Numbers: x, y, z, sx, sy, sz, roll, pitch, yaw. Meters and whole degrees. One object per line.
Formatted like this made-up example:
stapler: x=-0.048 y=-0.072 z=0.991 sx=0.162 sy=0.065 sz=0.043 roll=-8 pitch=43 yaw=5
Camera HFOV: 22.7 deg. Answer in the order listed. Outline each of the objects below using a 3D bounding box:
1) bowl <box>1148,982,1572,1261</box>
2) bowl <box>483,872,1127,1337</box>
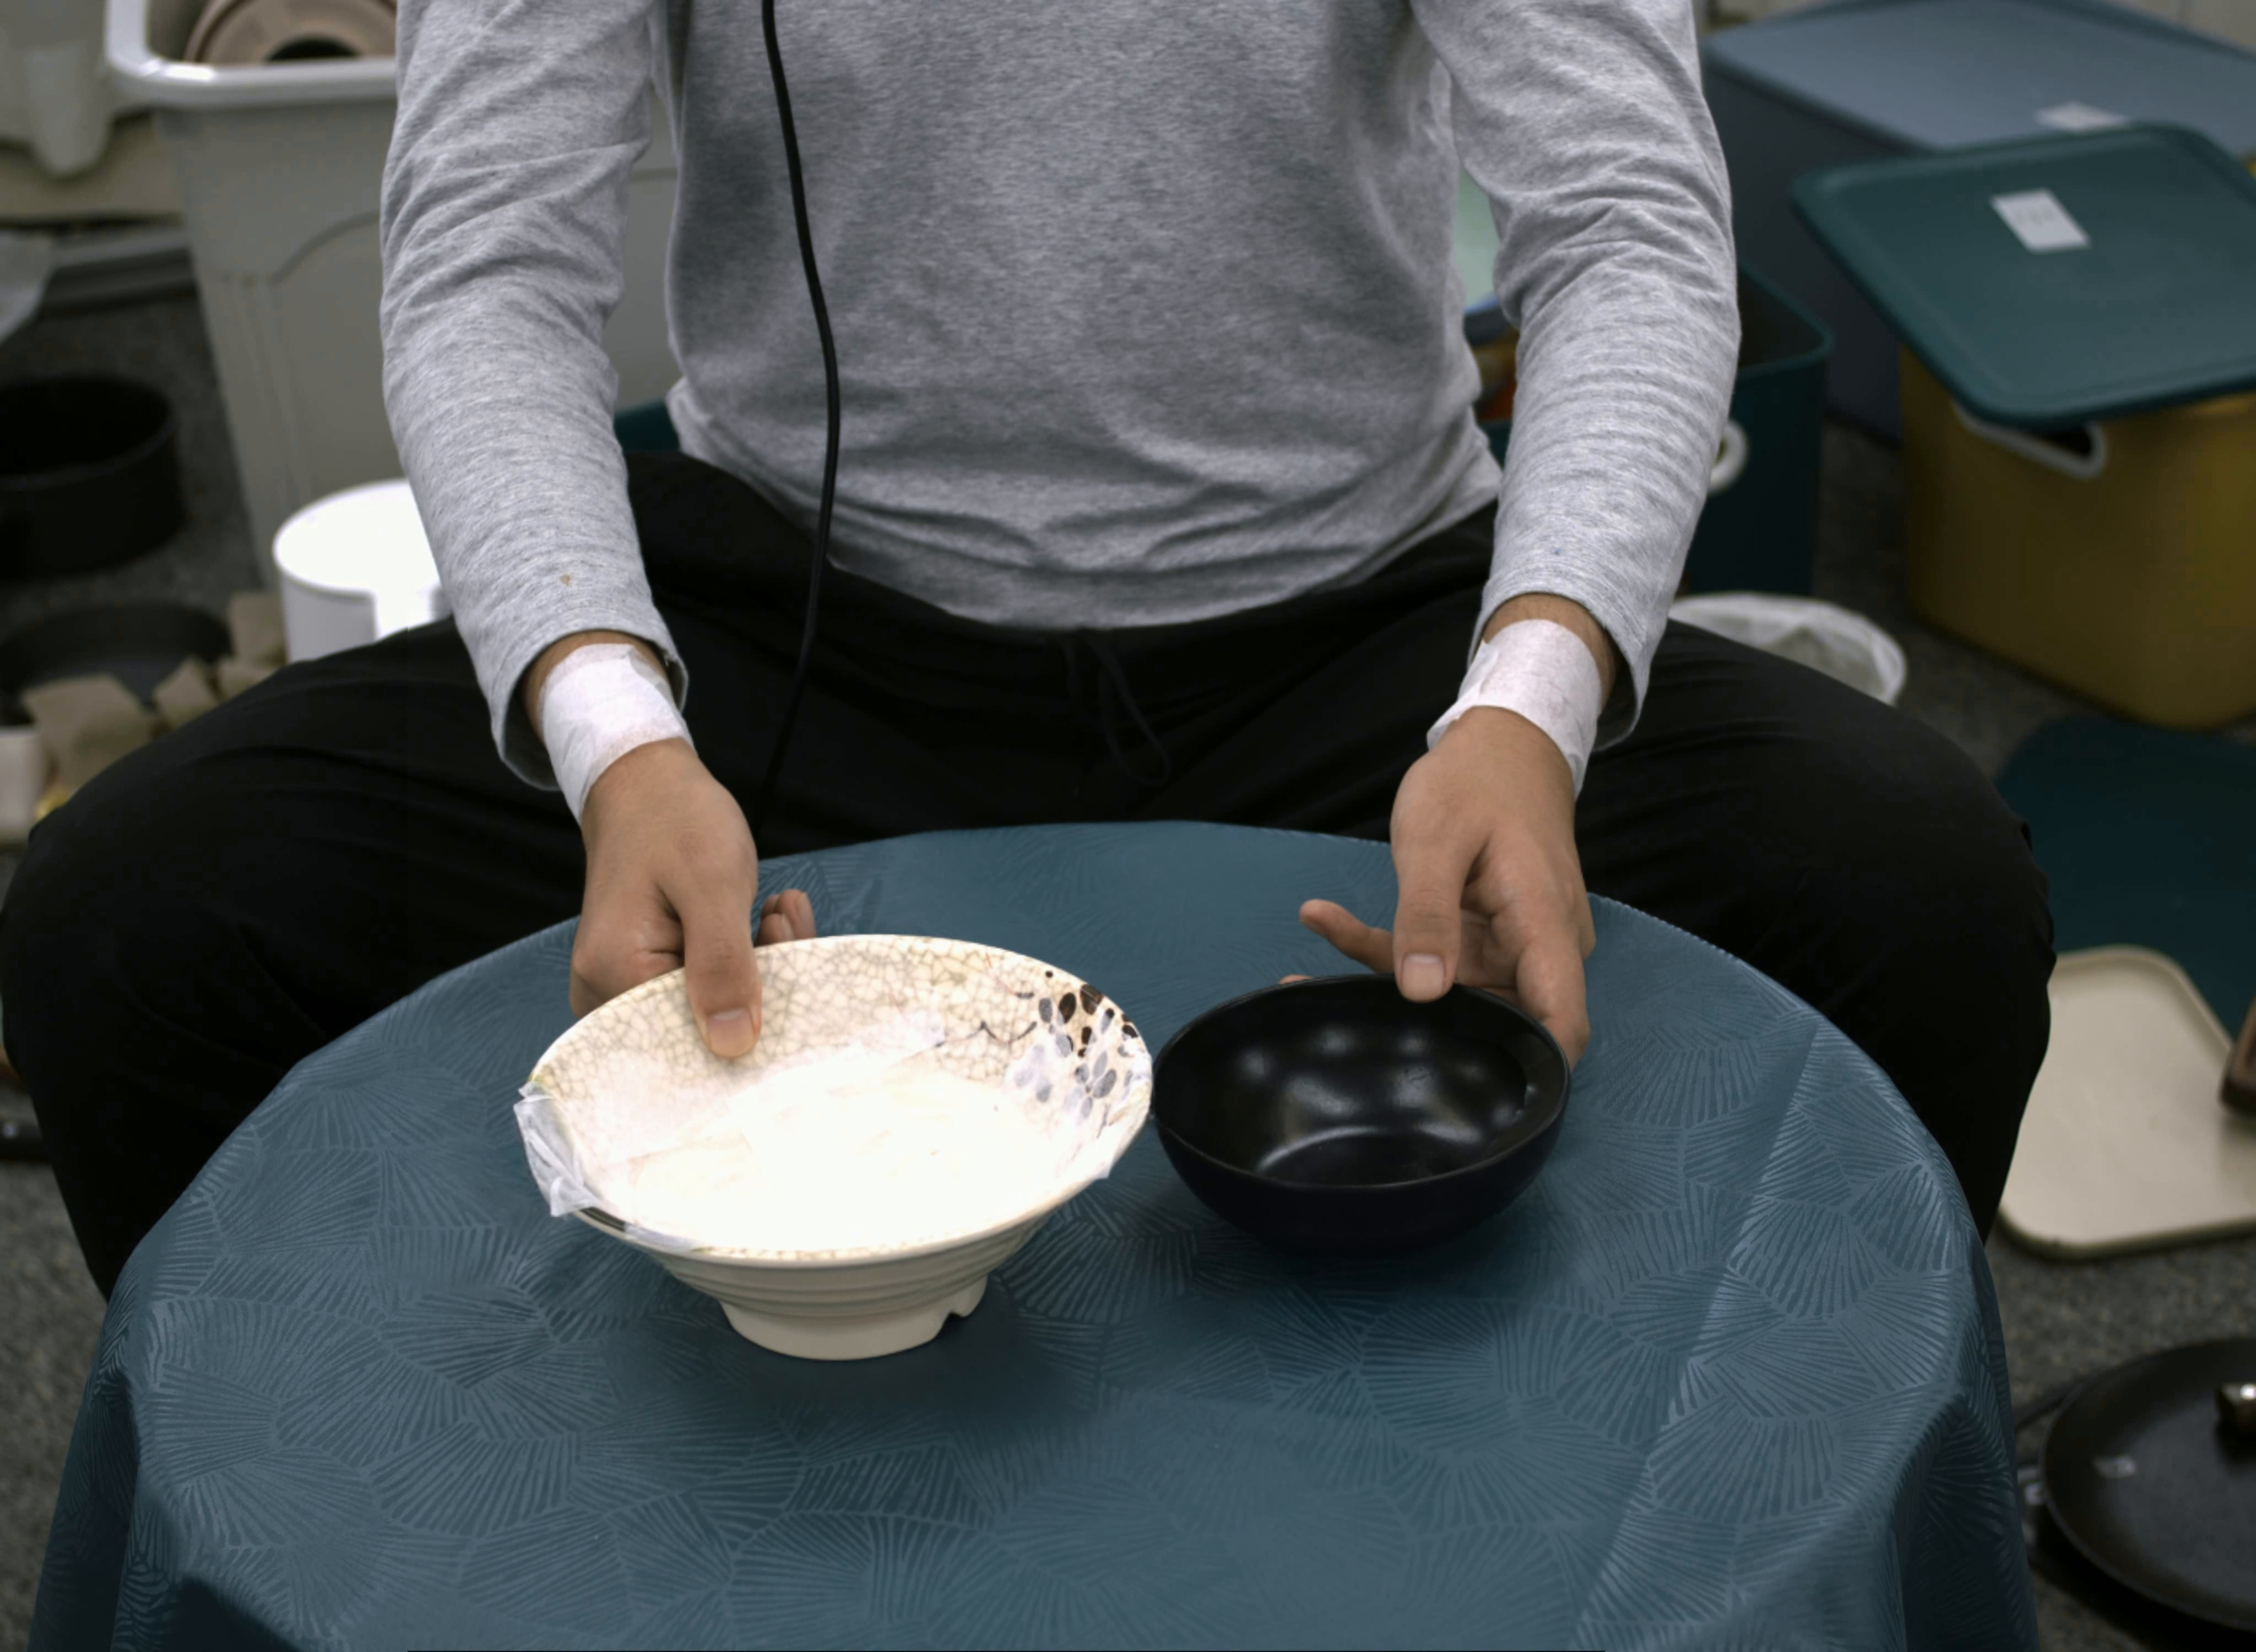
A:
bowl: x=0.076 y=0.104 z=1.838 sx=0.139 sy=0.049 sz=0.142 roll=0 pitch=25 yaw=1
bowl: x=-0.101 y=0.106 z=1.788 sx=0.203 sy=0.077 sz=0.208 roll=0 pitch=35 yaw=1
